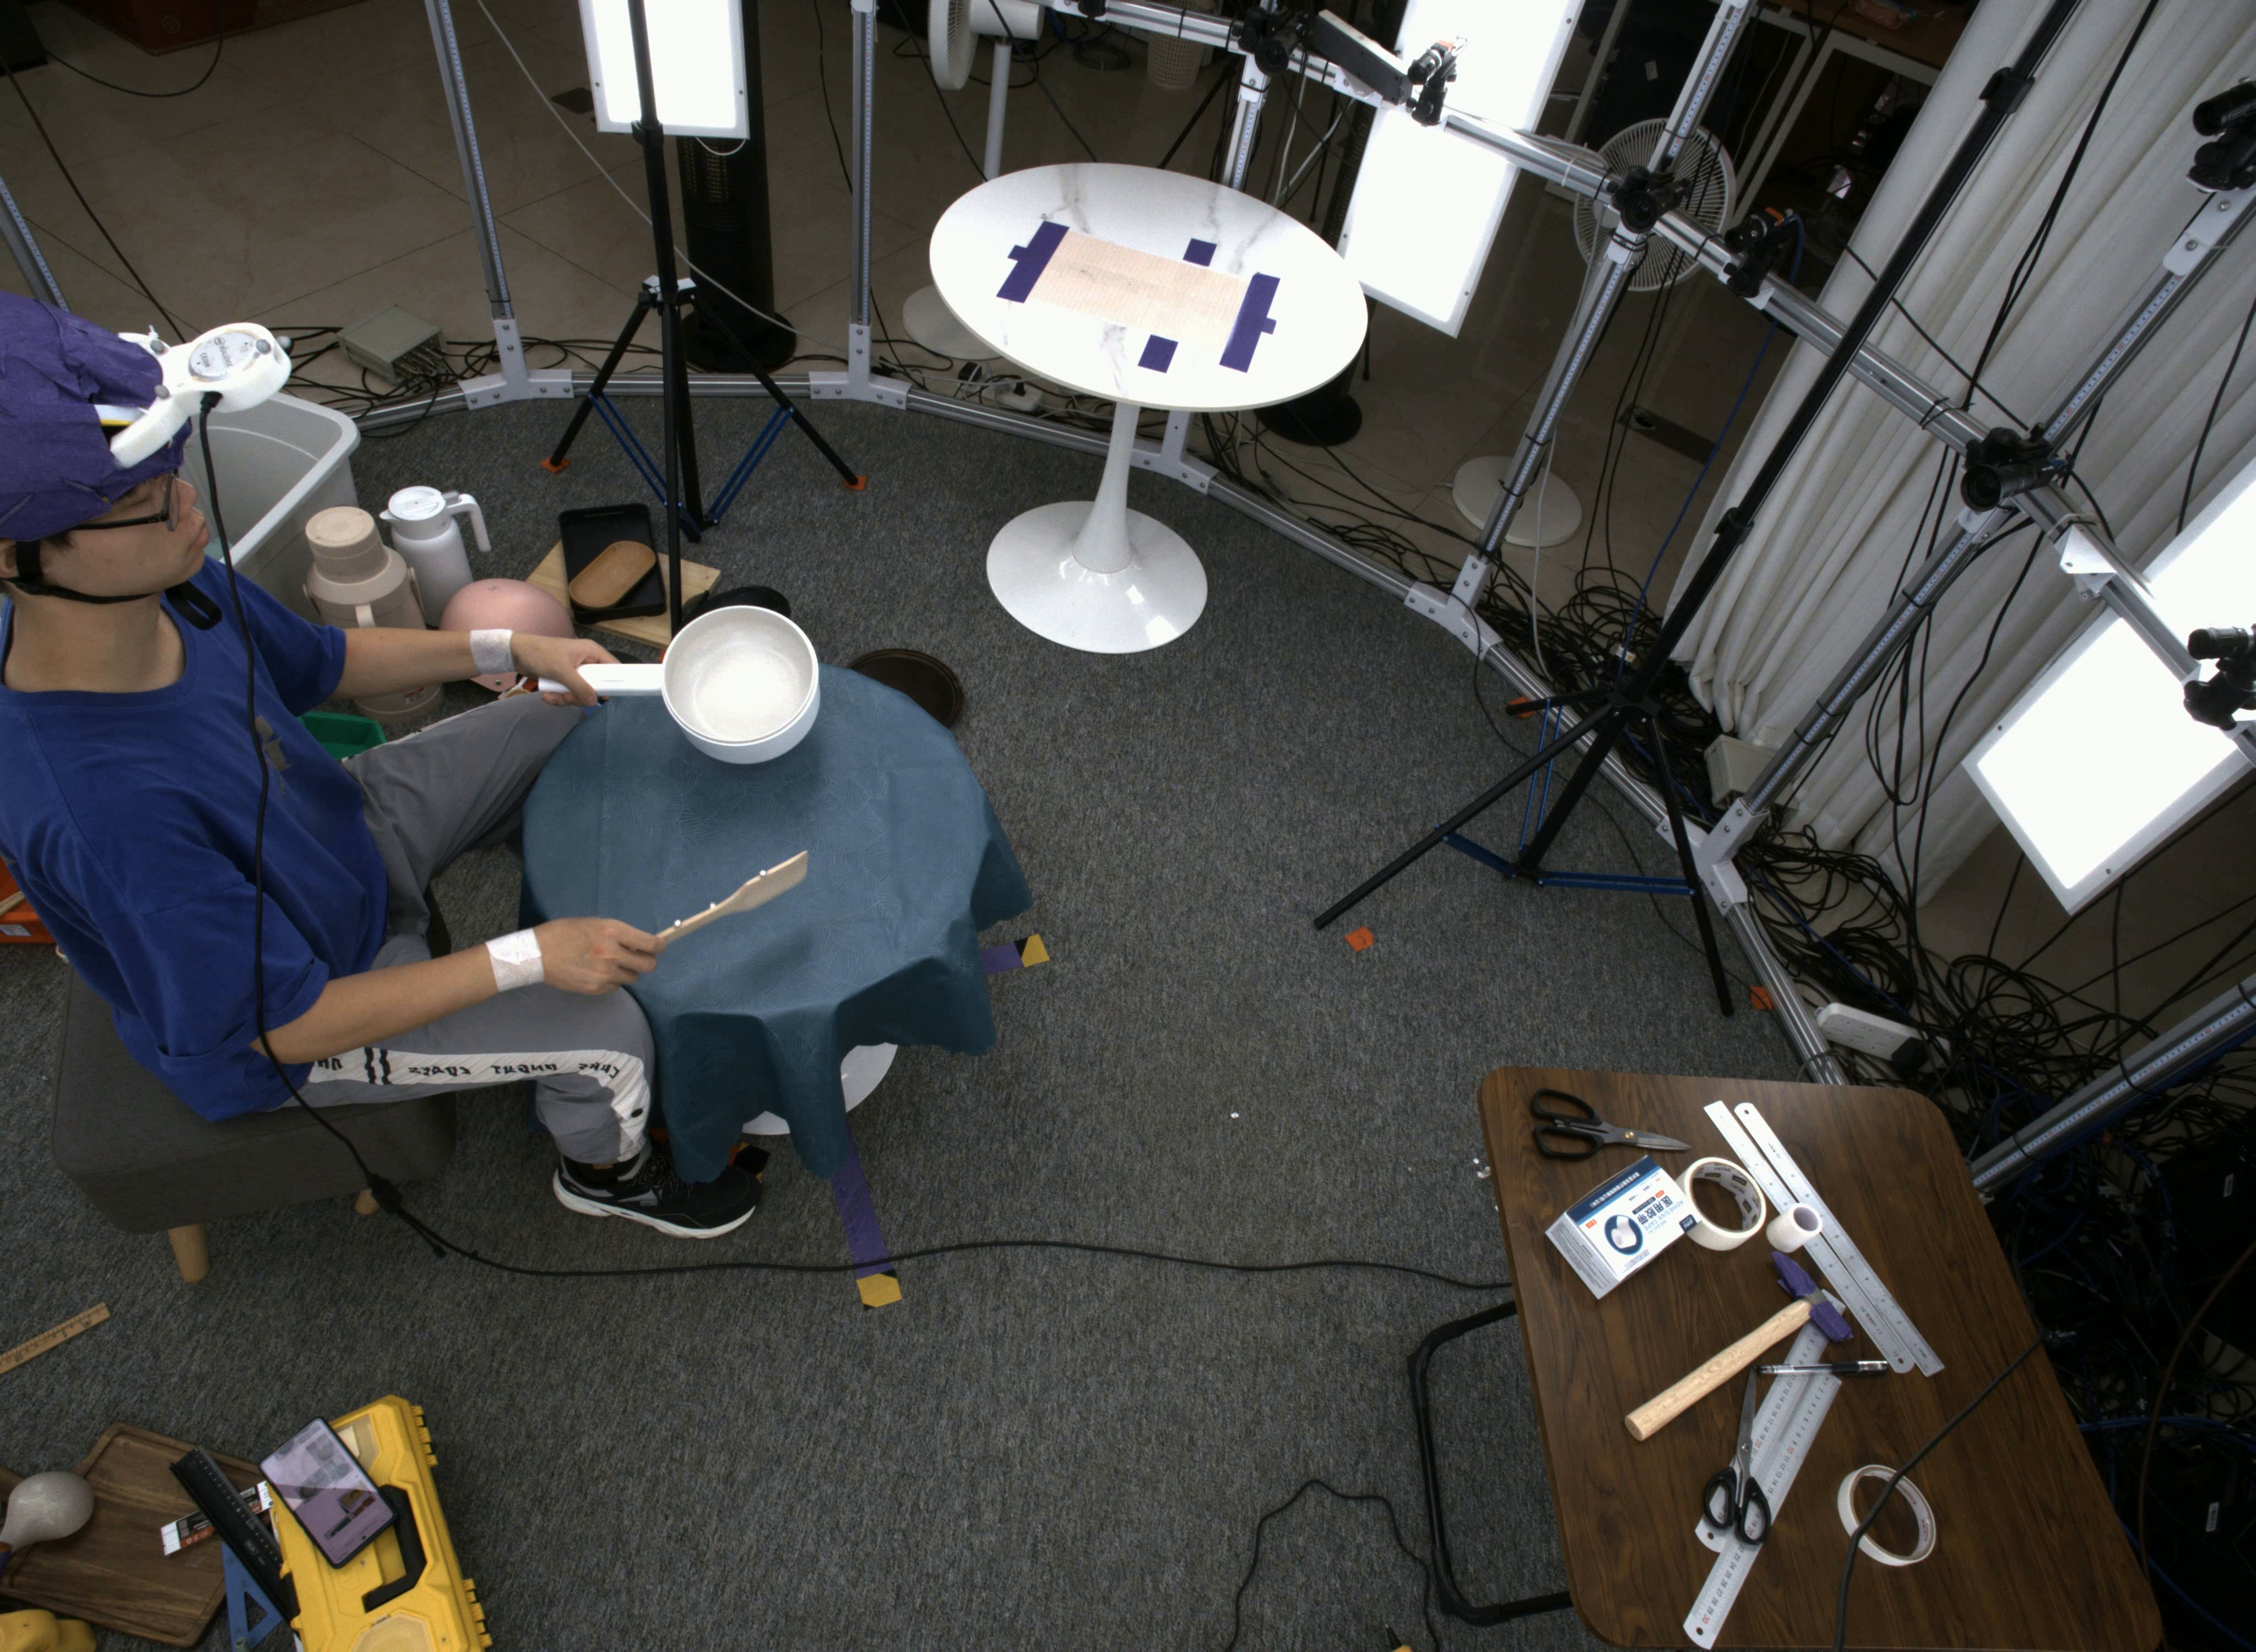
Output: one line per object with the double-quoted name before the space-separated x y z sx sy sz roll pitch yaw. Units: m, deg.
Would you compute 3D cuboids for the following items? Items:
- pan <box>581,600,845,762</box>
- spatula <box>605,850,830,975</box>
"pan" -0.555 -0.188 1.717 0.354 0.103 0.200 0 74 -10
"spatula" -0.480 0.102 1.518 0.294 0.073 0.010 -27 74 -27
